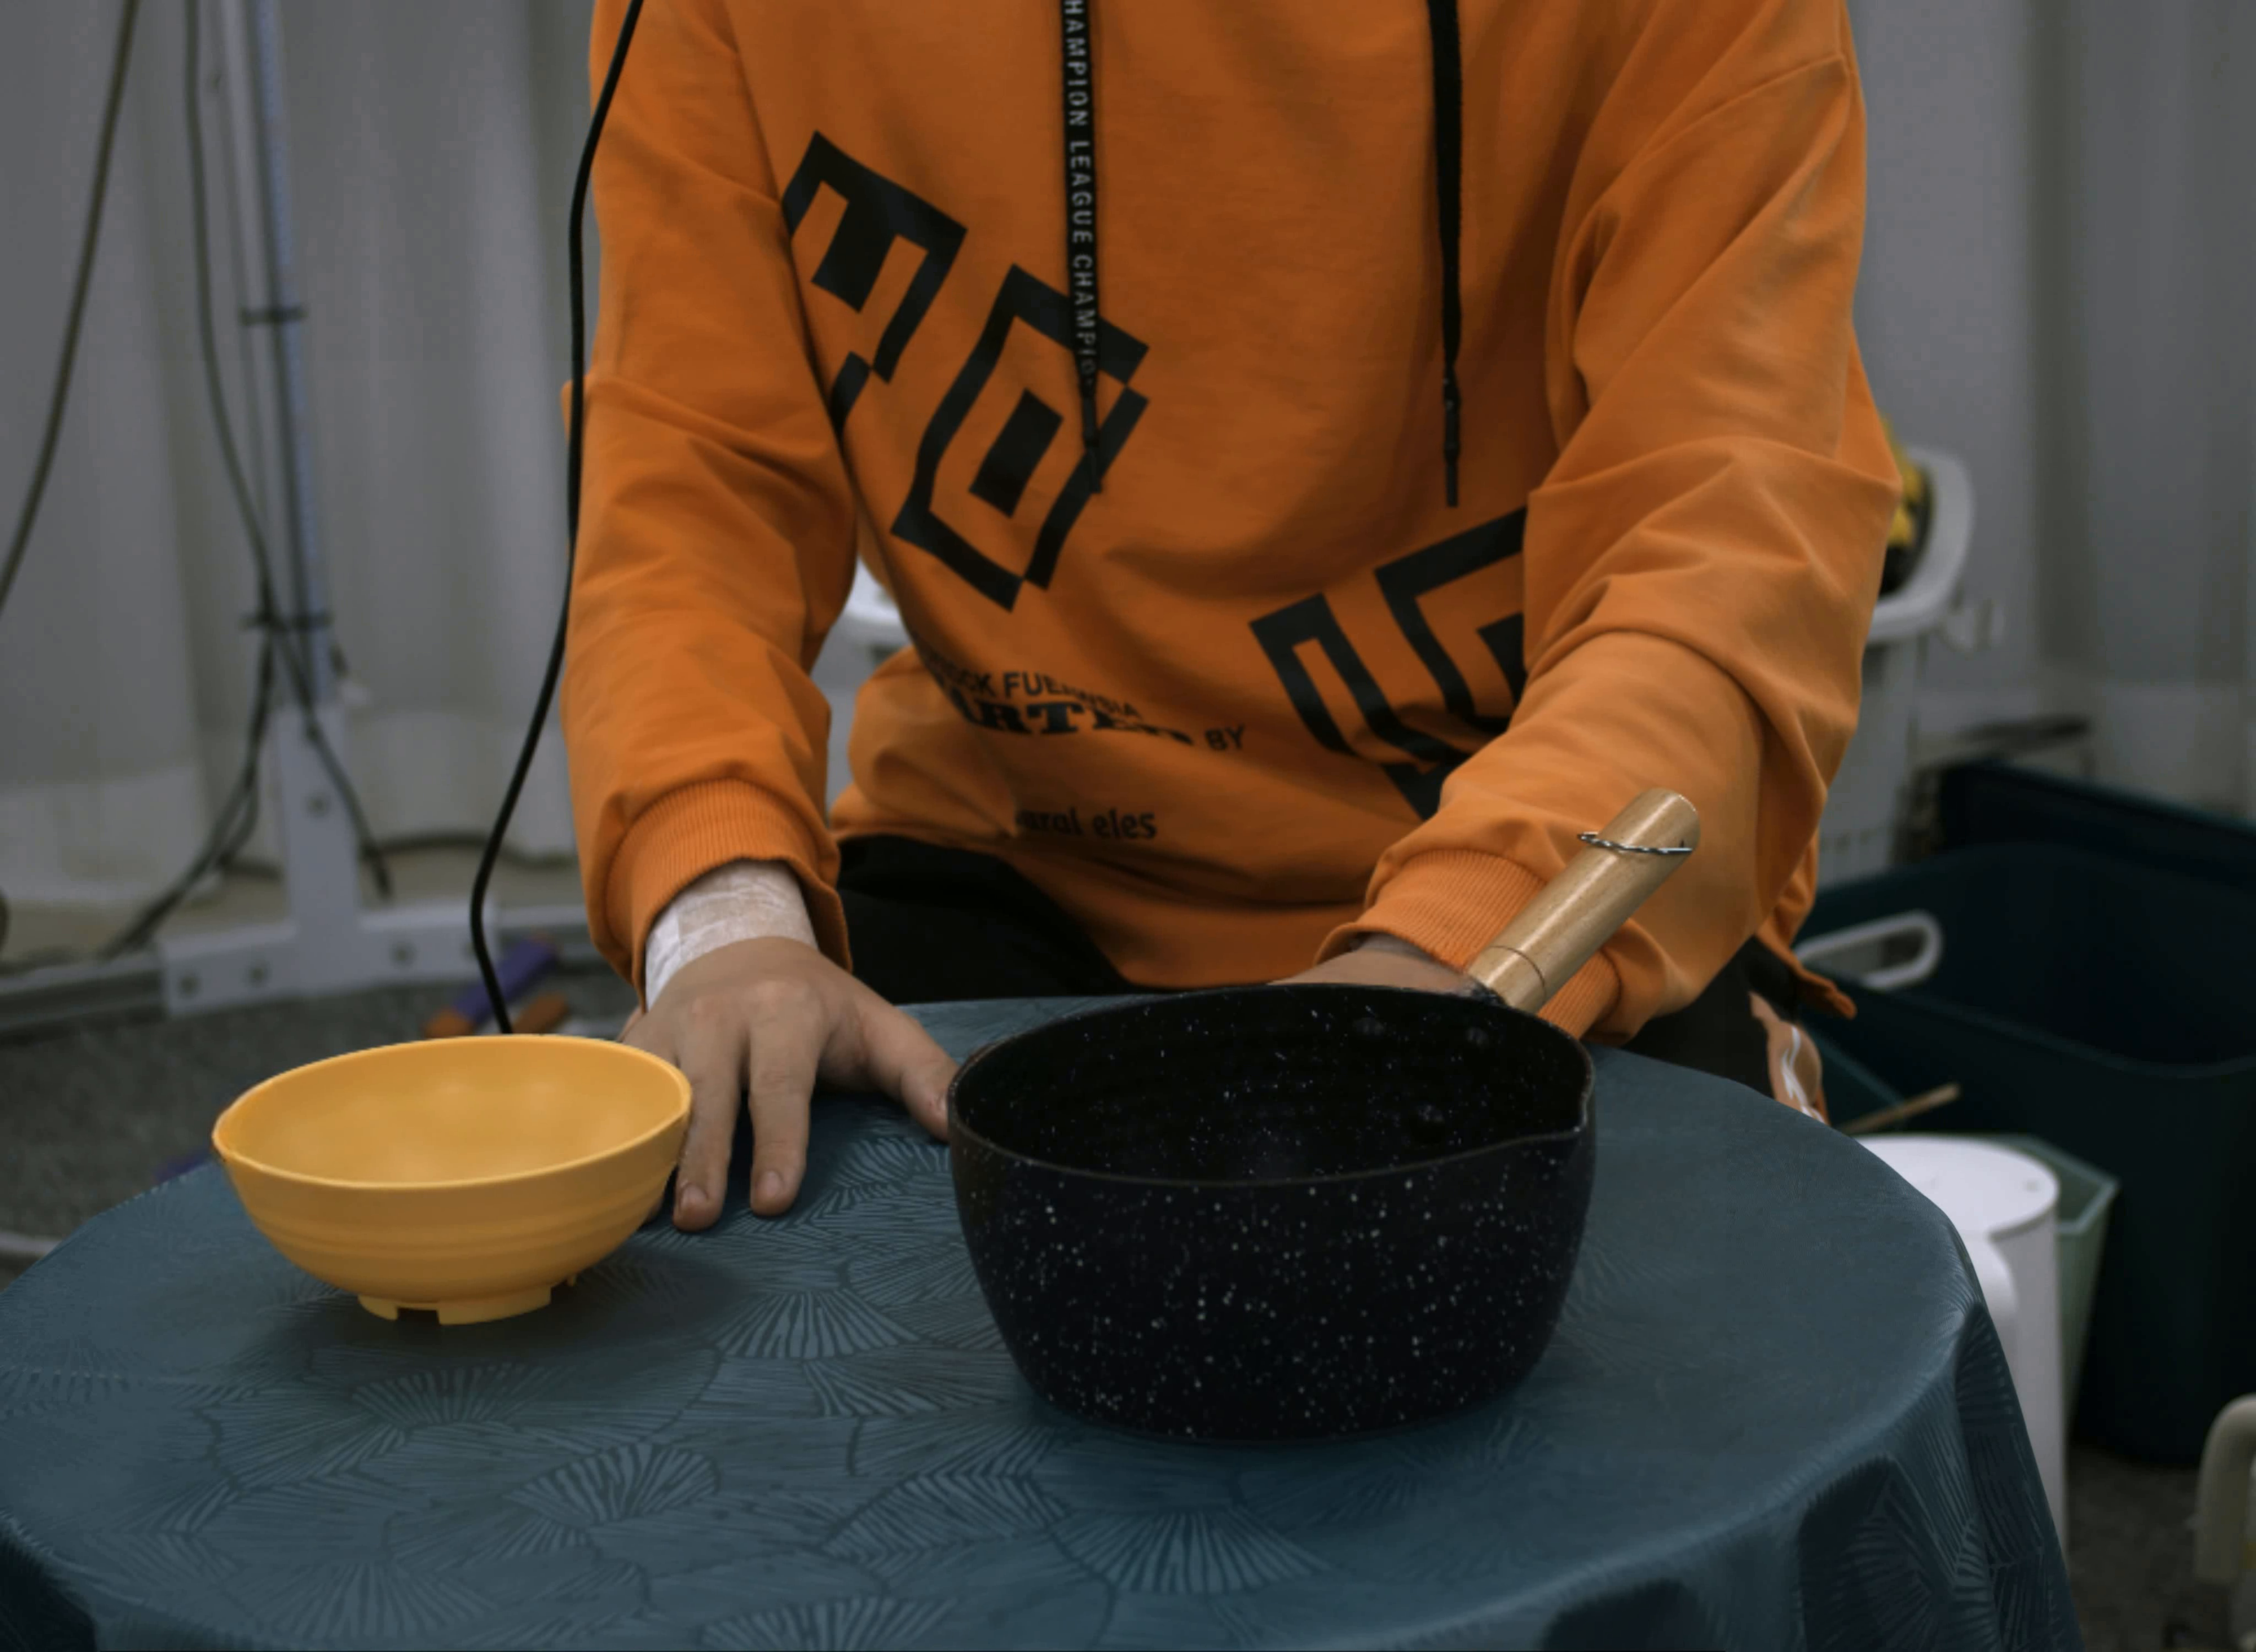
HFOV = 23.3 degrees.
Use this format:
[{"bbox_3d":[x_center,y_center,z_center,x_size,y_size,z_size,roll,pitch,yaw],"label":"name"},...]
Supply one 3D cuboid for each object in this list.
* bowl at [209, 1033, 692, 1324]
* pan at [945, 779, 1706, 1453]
[{"bbox_3d":[-0.203,0.112,1.653,0.145,0.060,0.146,-2,15,0],"label":"bowl"},{"bbox_3d":[0.083,0.081,1.618,0.208,0.108,0.343,5,18,32],"label":"pan"}]
